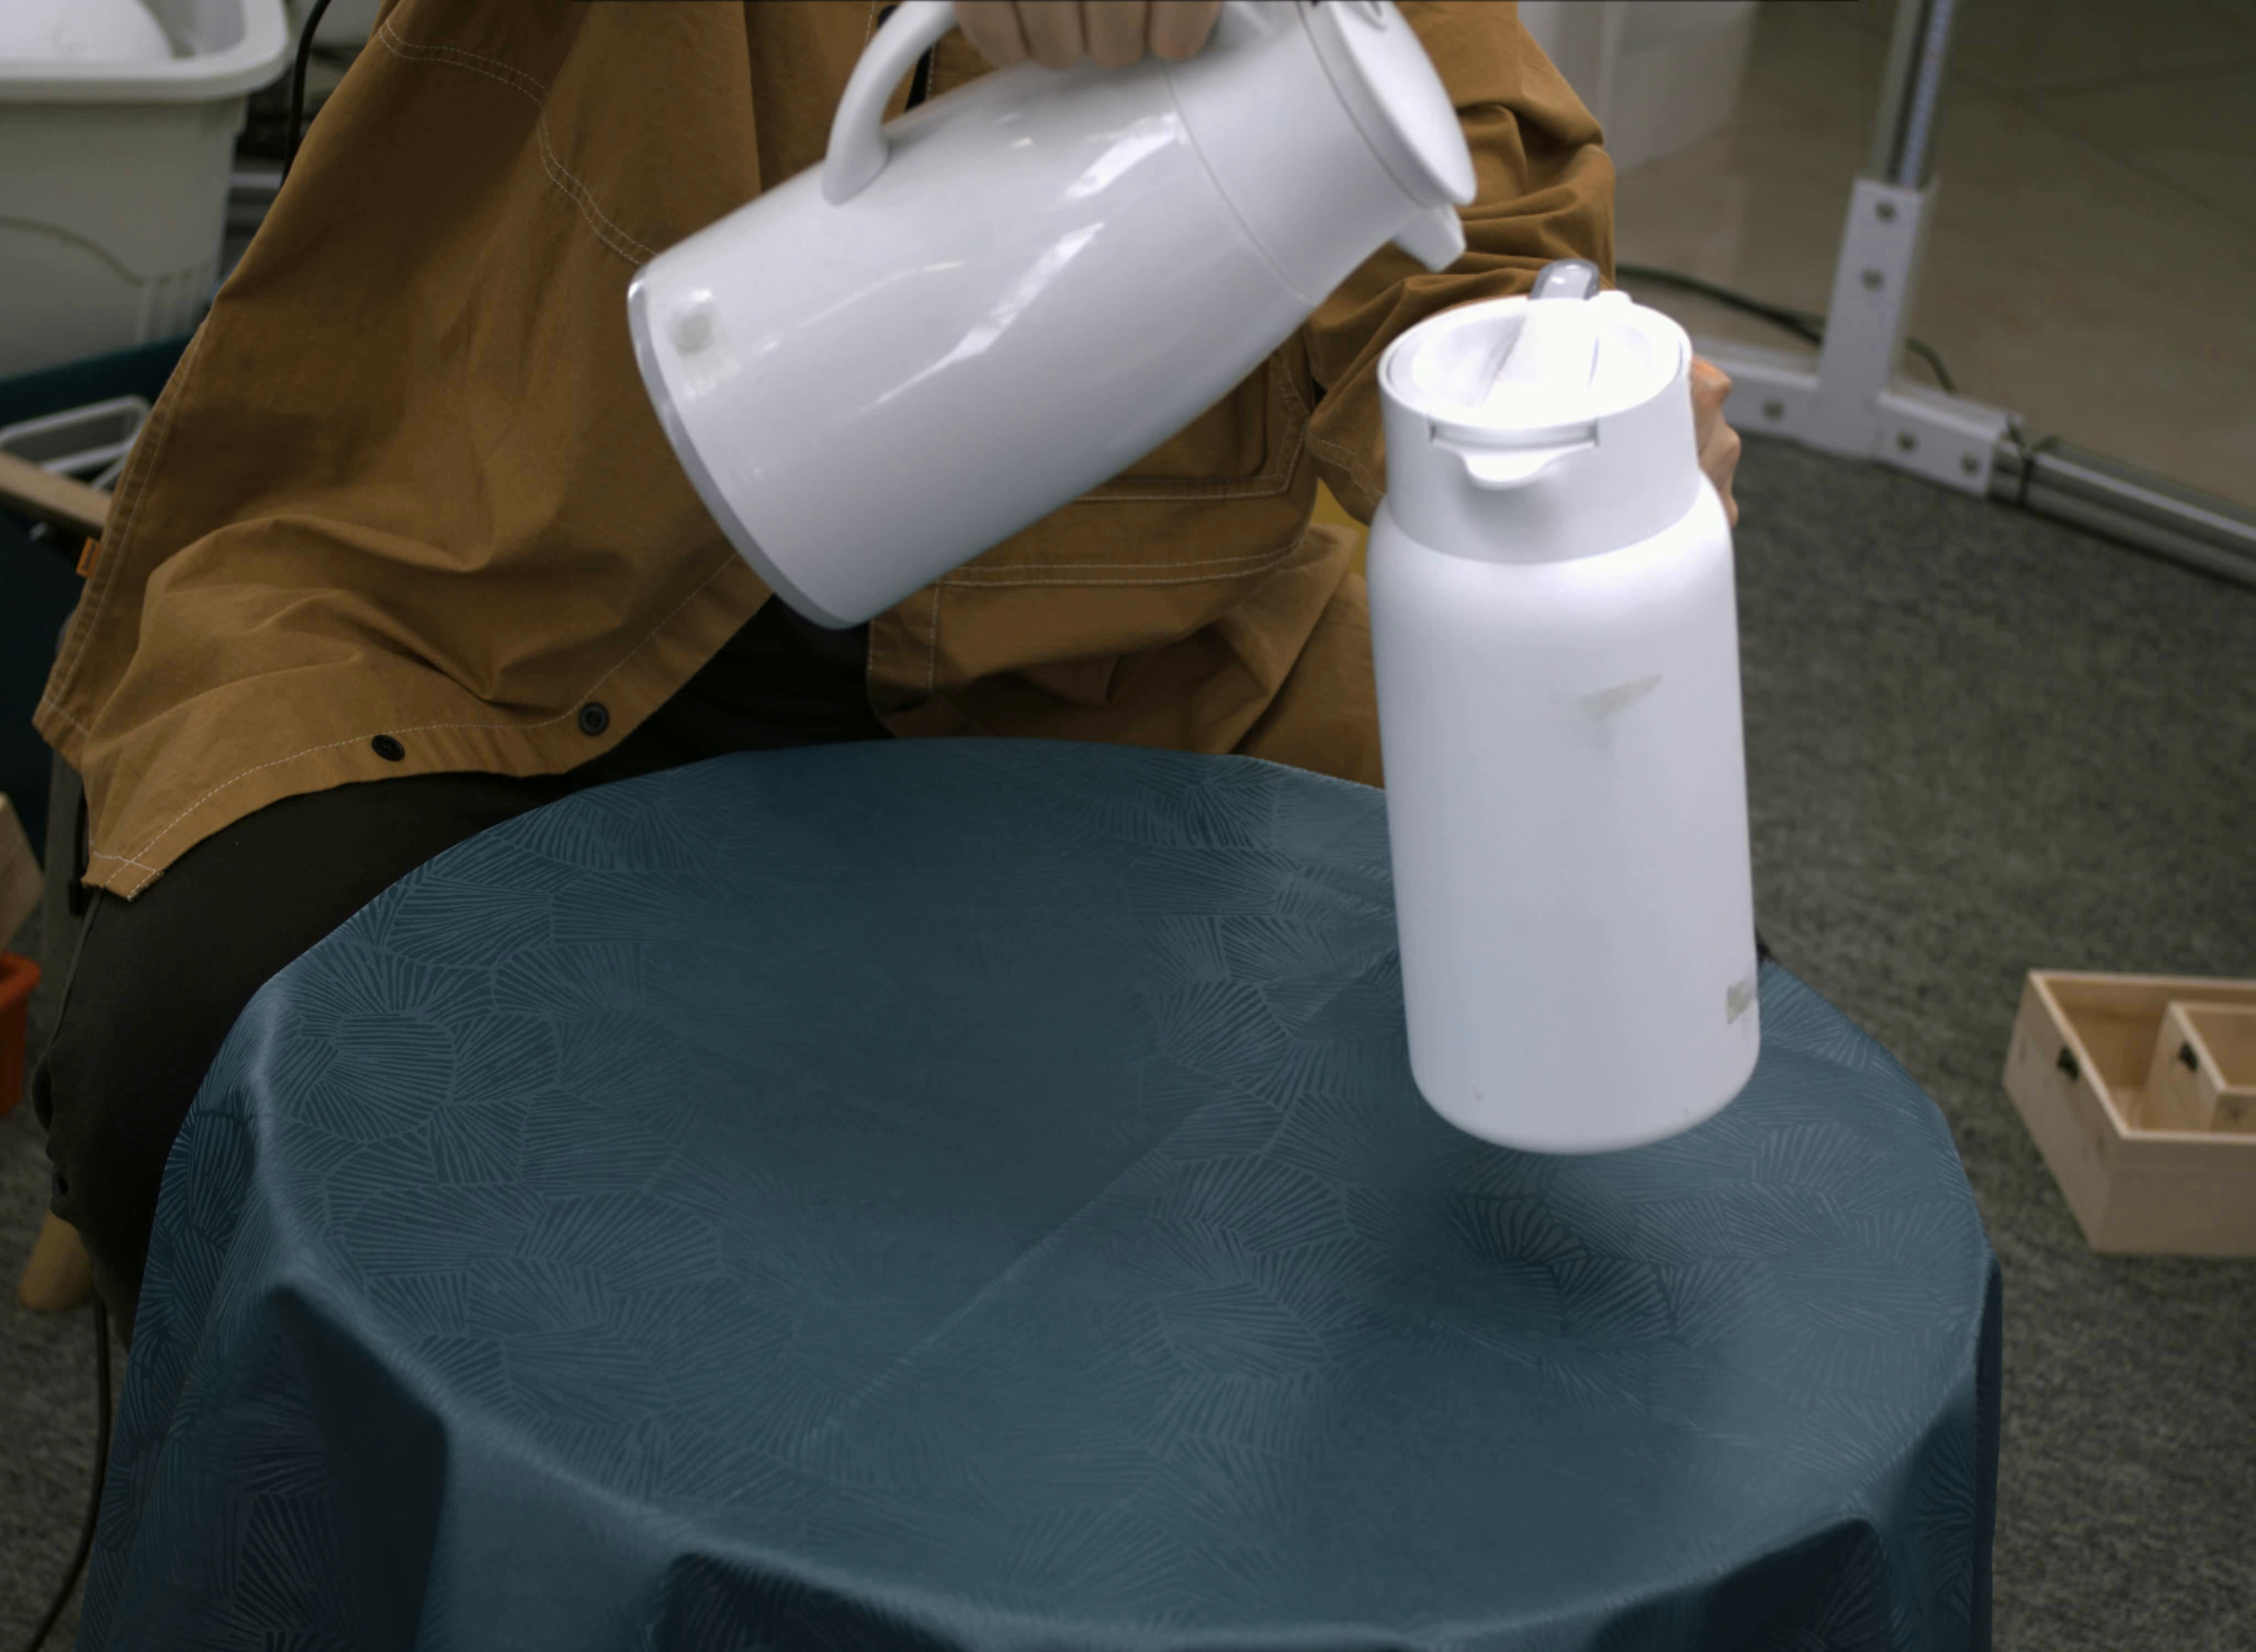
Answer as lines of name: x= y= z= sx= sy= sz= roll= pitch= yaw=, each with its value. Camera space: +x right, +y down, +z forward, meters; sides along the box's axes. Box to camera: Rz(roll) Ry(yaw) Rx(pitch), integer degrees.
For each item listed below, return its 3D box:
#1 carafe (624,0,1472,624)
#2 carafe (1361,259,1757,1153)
carafe: x=-0.028 y=-0.190 z=1.630 sx=0.248 sy=0.166 sz=0.133 roll=-29 pitch=34 yaw=17
carafe: x=0.141 y=-0.042 z=1.732 sx=0.124 sy=0.267 sz=0.173 roll=-1 pitch=29 yaw=15
